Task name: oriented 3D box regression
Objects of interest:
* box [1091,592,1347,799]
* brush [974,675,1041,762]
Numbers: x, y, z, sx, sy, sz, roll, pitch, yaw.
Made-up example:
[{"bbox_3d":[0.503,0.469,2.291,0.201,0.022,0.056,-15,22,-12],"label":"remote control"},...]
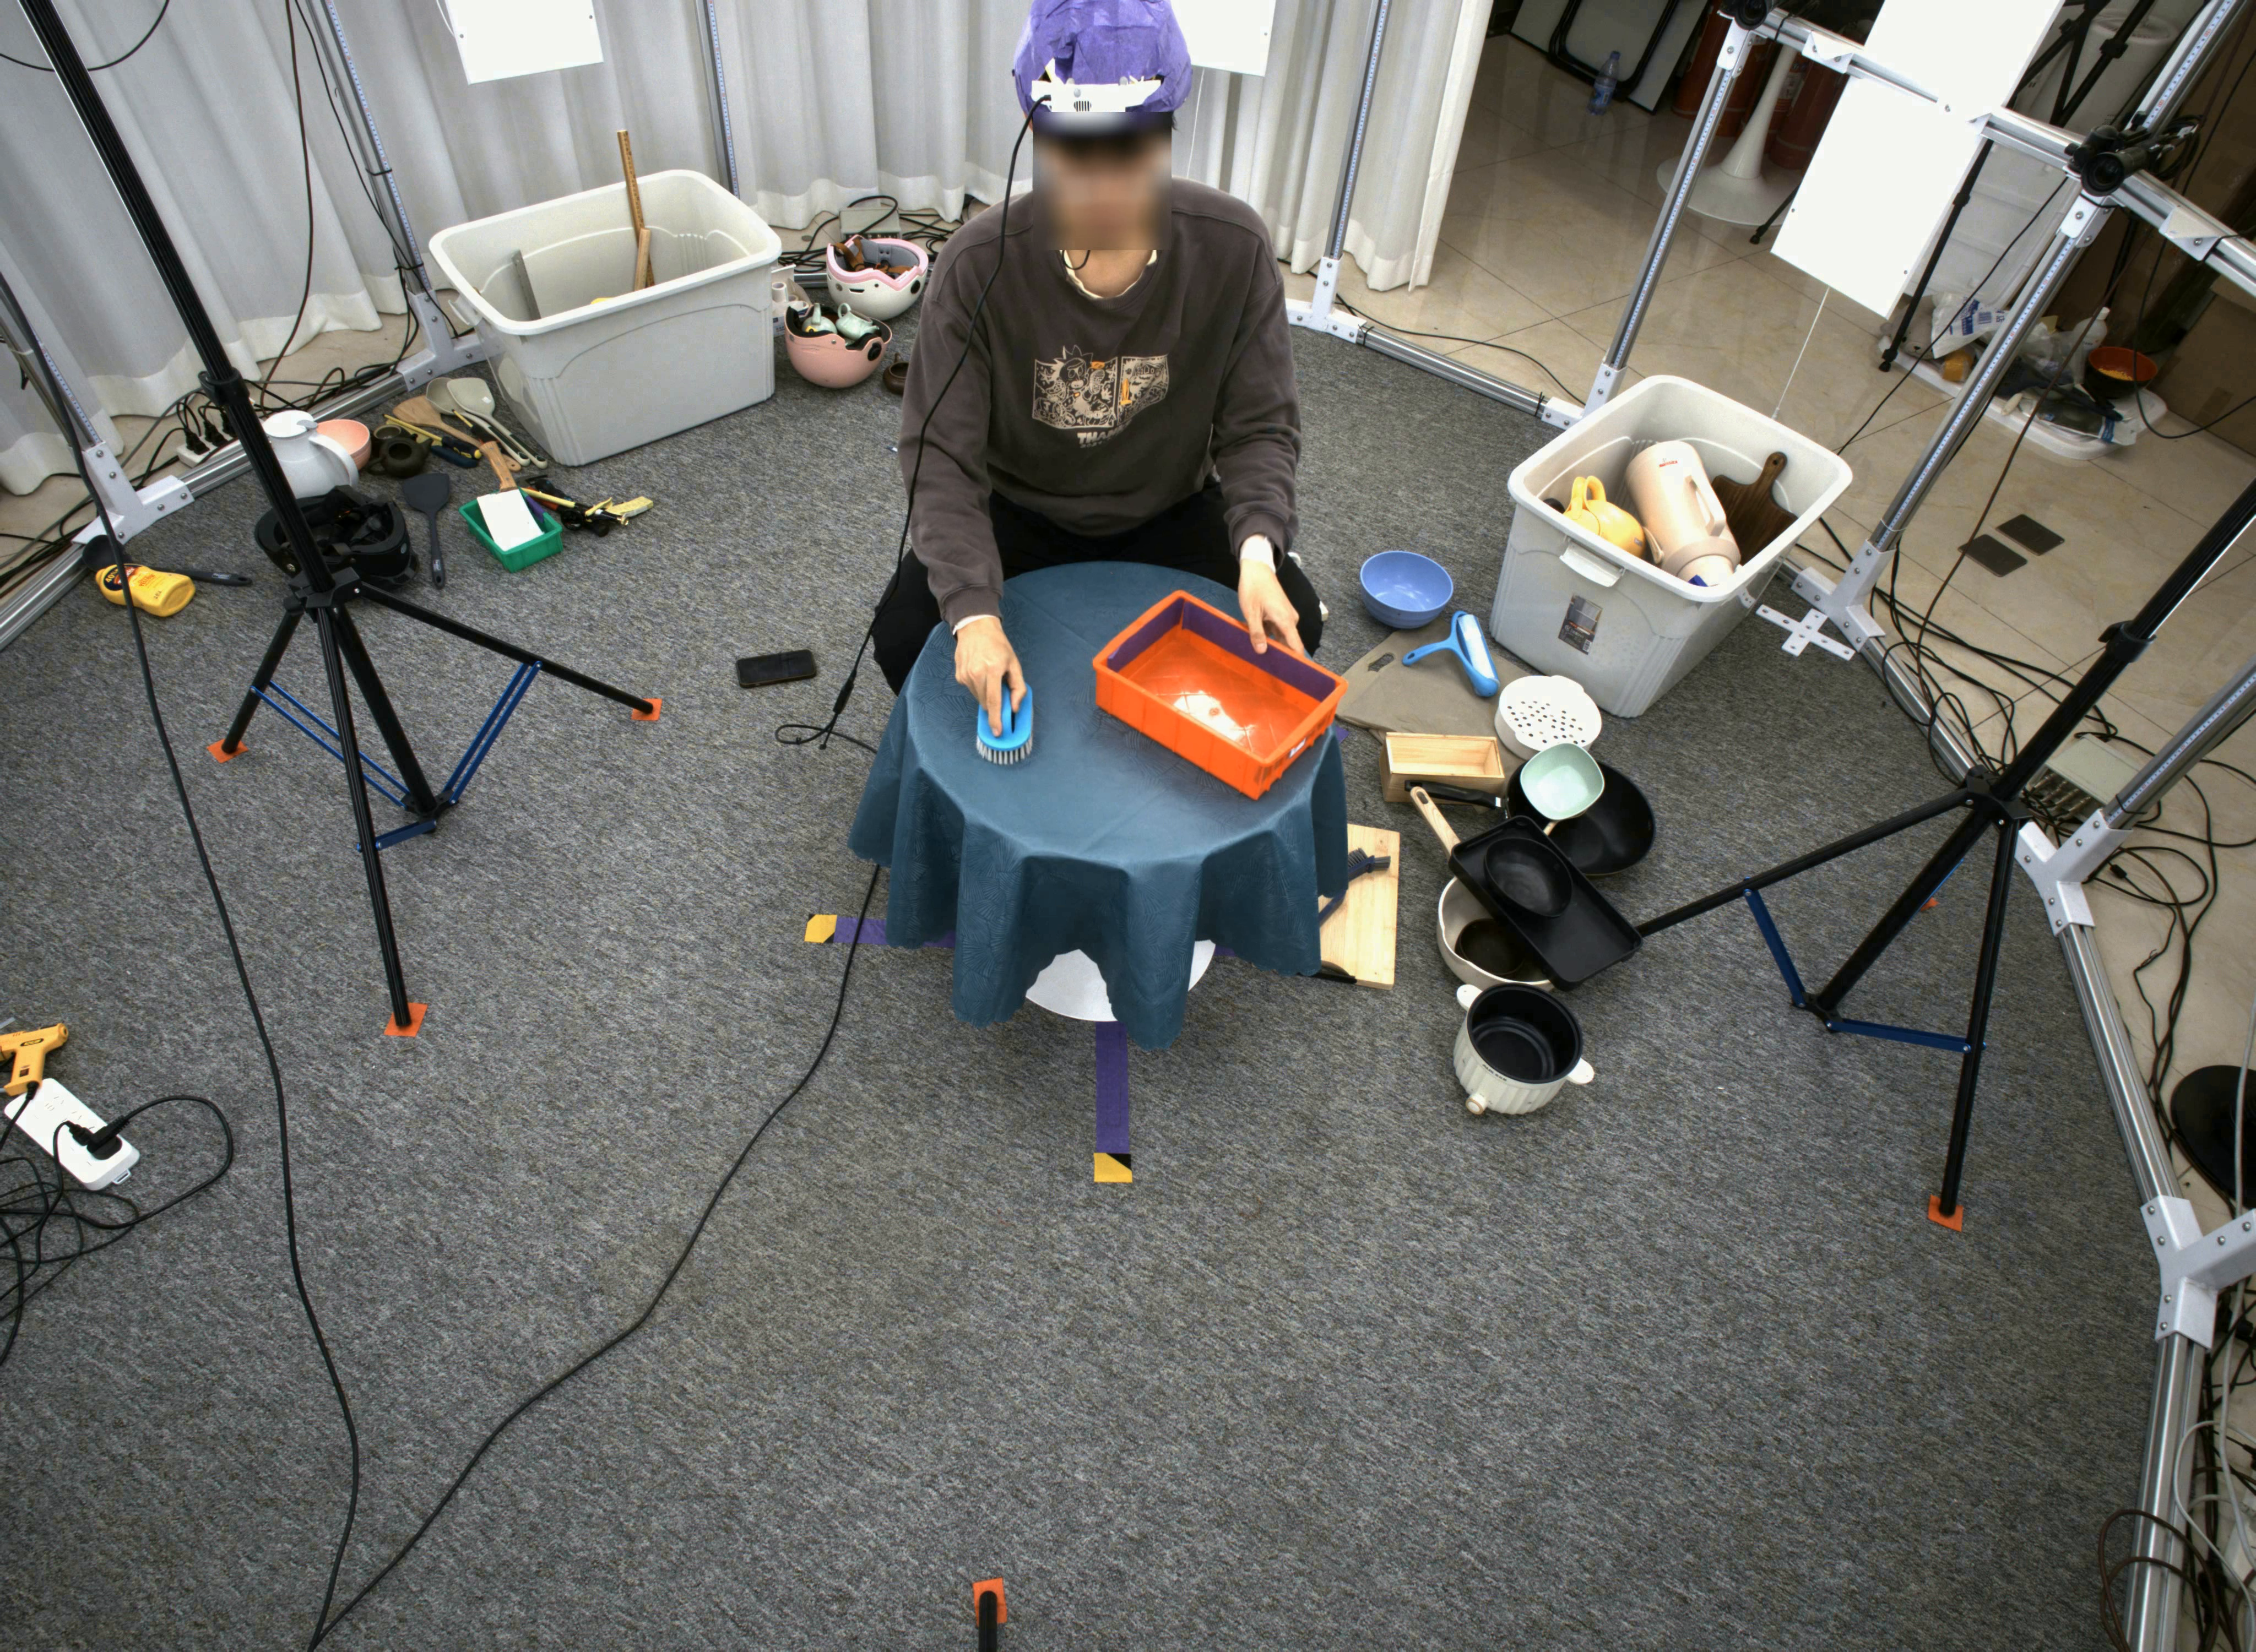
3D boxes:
[{"bbox_3d":[0.122,-0.182,1.776,0.307,0.094,0.209,33,55,23],"label":"box"},{"bbox_3d":[-0.164,-0.158,1.750,0.084,0.062,0.145,0,48,3],"label":"brush"}]
